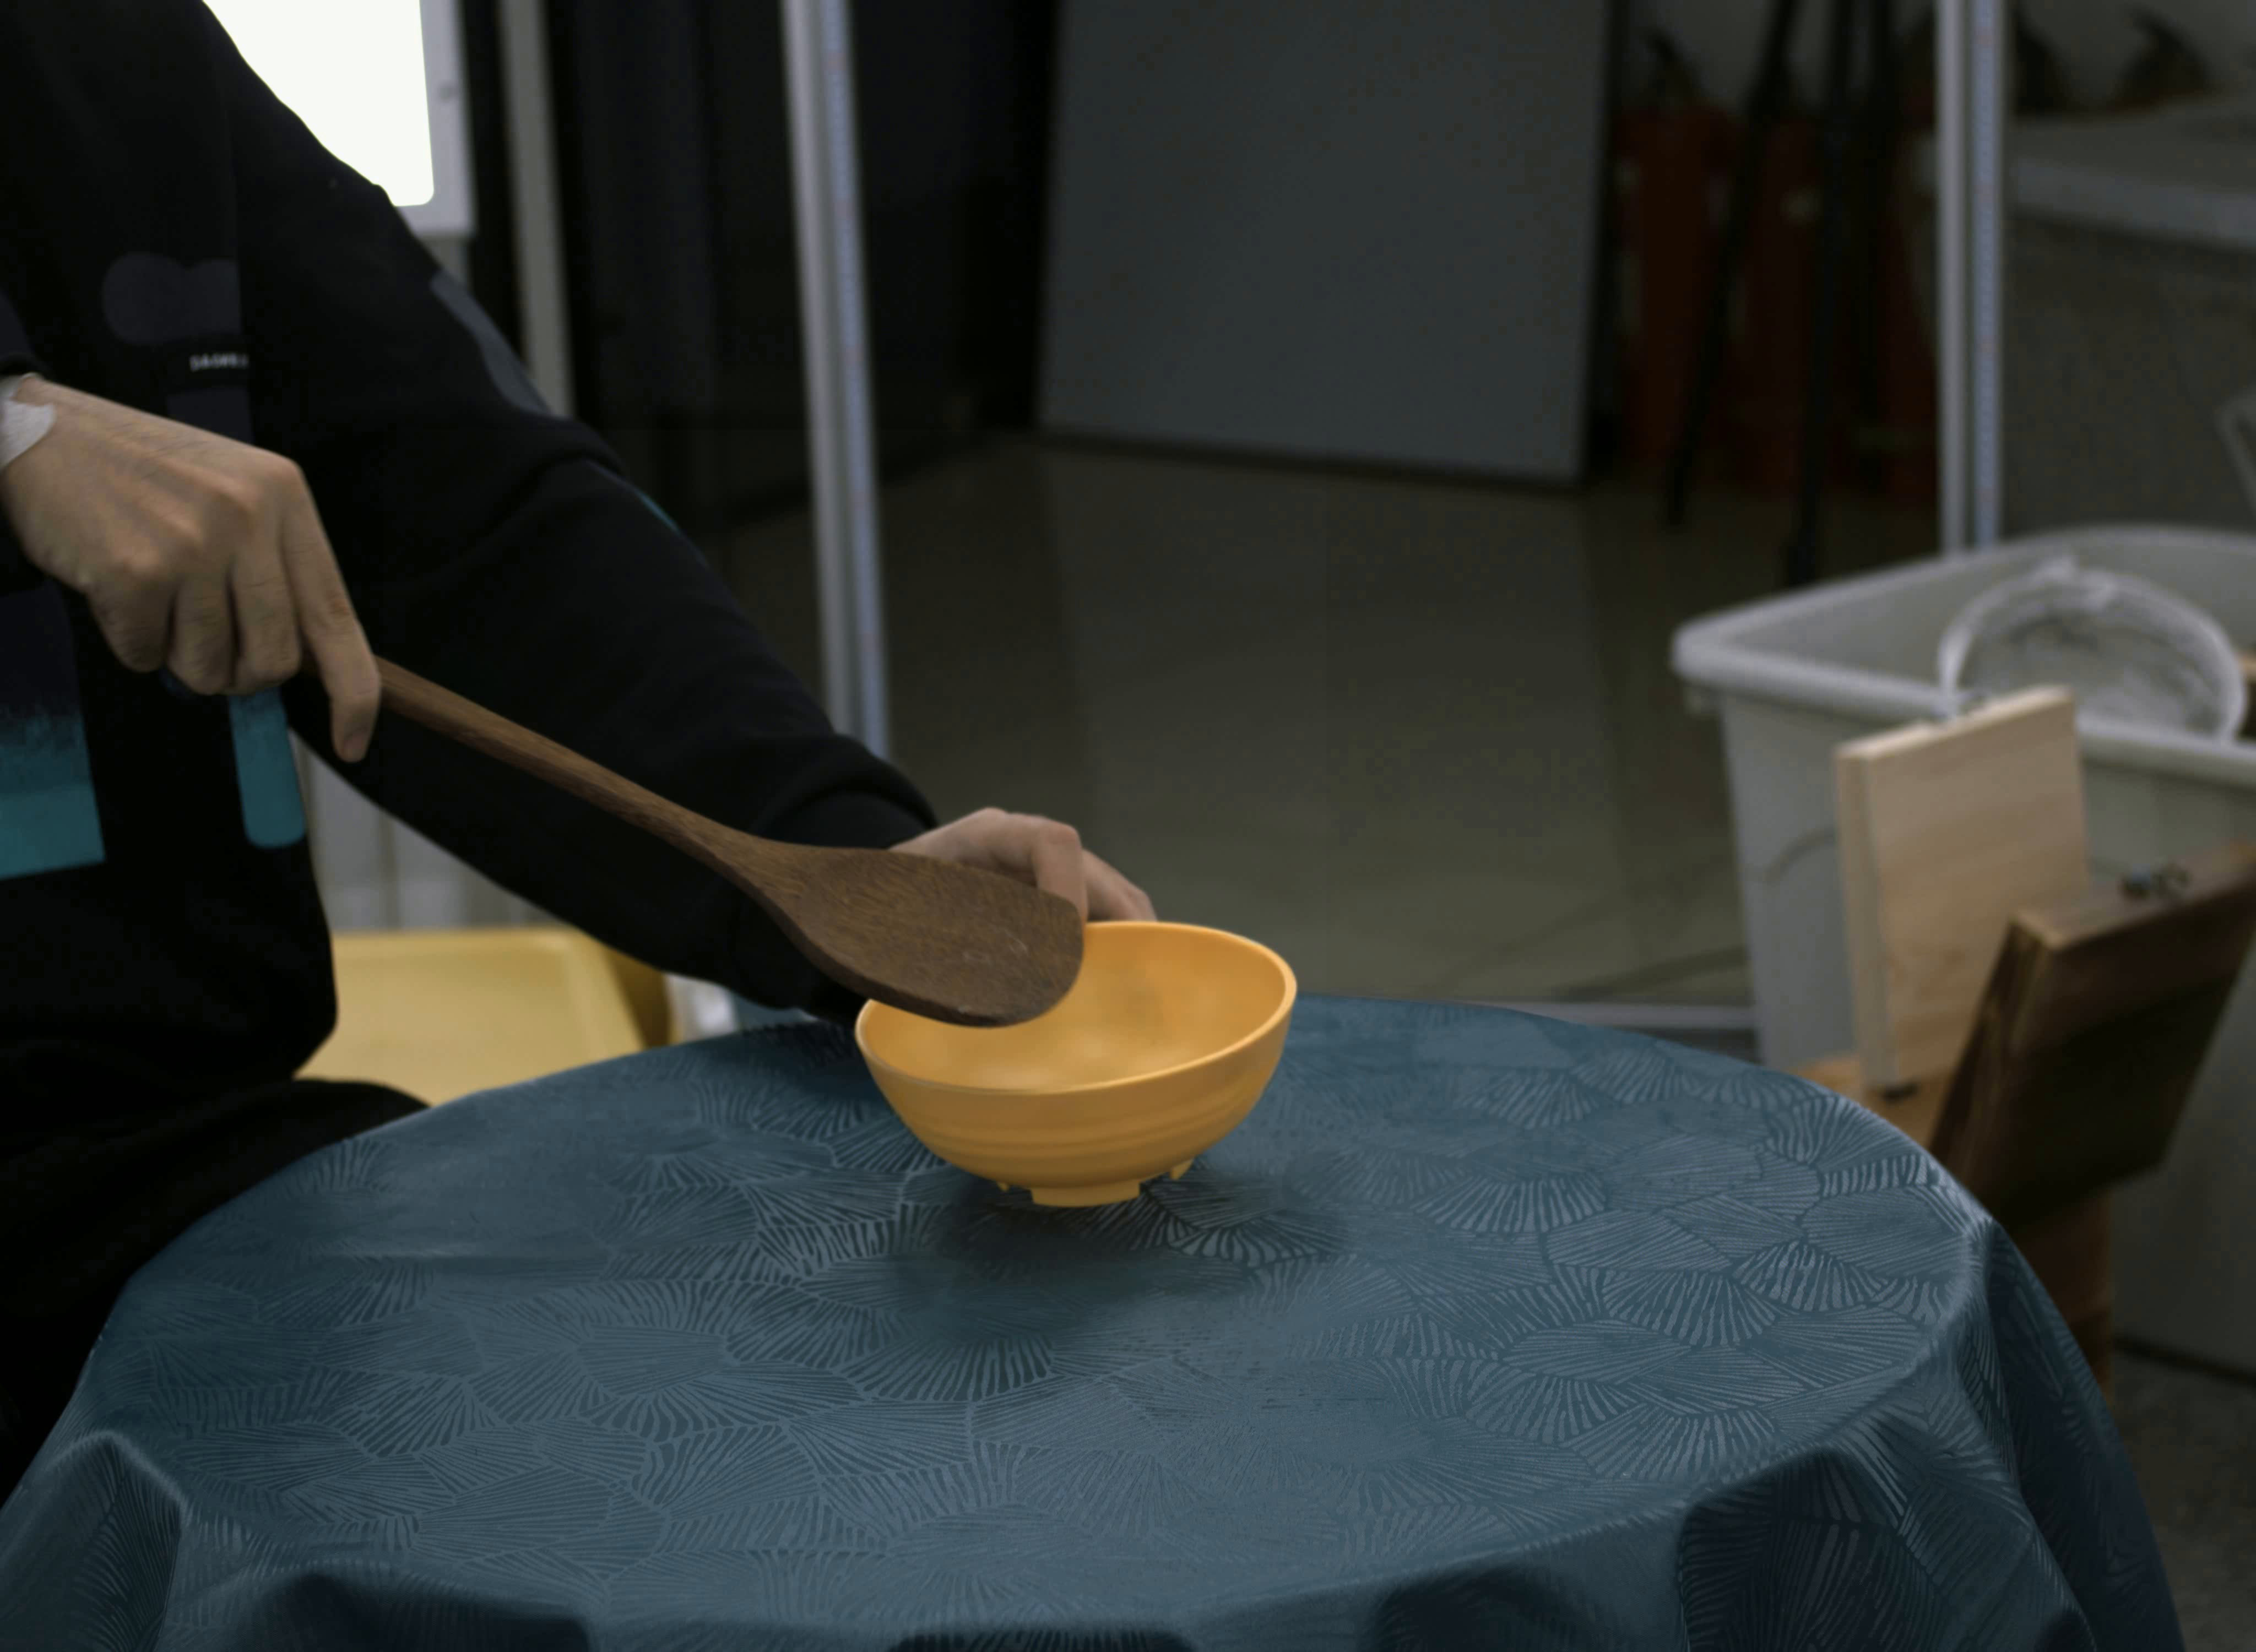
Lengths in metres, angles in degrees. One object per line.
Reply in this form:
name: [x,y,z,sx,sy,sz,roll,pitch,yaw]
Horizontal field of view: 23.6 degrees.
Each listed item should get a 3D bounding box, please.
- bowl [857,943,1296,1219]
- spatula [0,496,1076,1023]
bowl: [-0.014,0.088,1.752,0.143,0.061,0.145,-6,17,1]
spatula: [-0.194,-0.026,1.711,0.383,0.016,0.095,24,28,6]
